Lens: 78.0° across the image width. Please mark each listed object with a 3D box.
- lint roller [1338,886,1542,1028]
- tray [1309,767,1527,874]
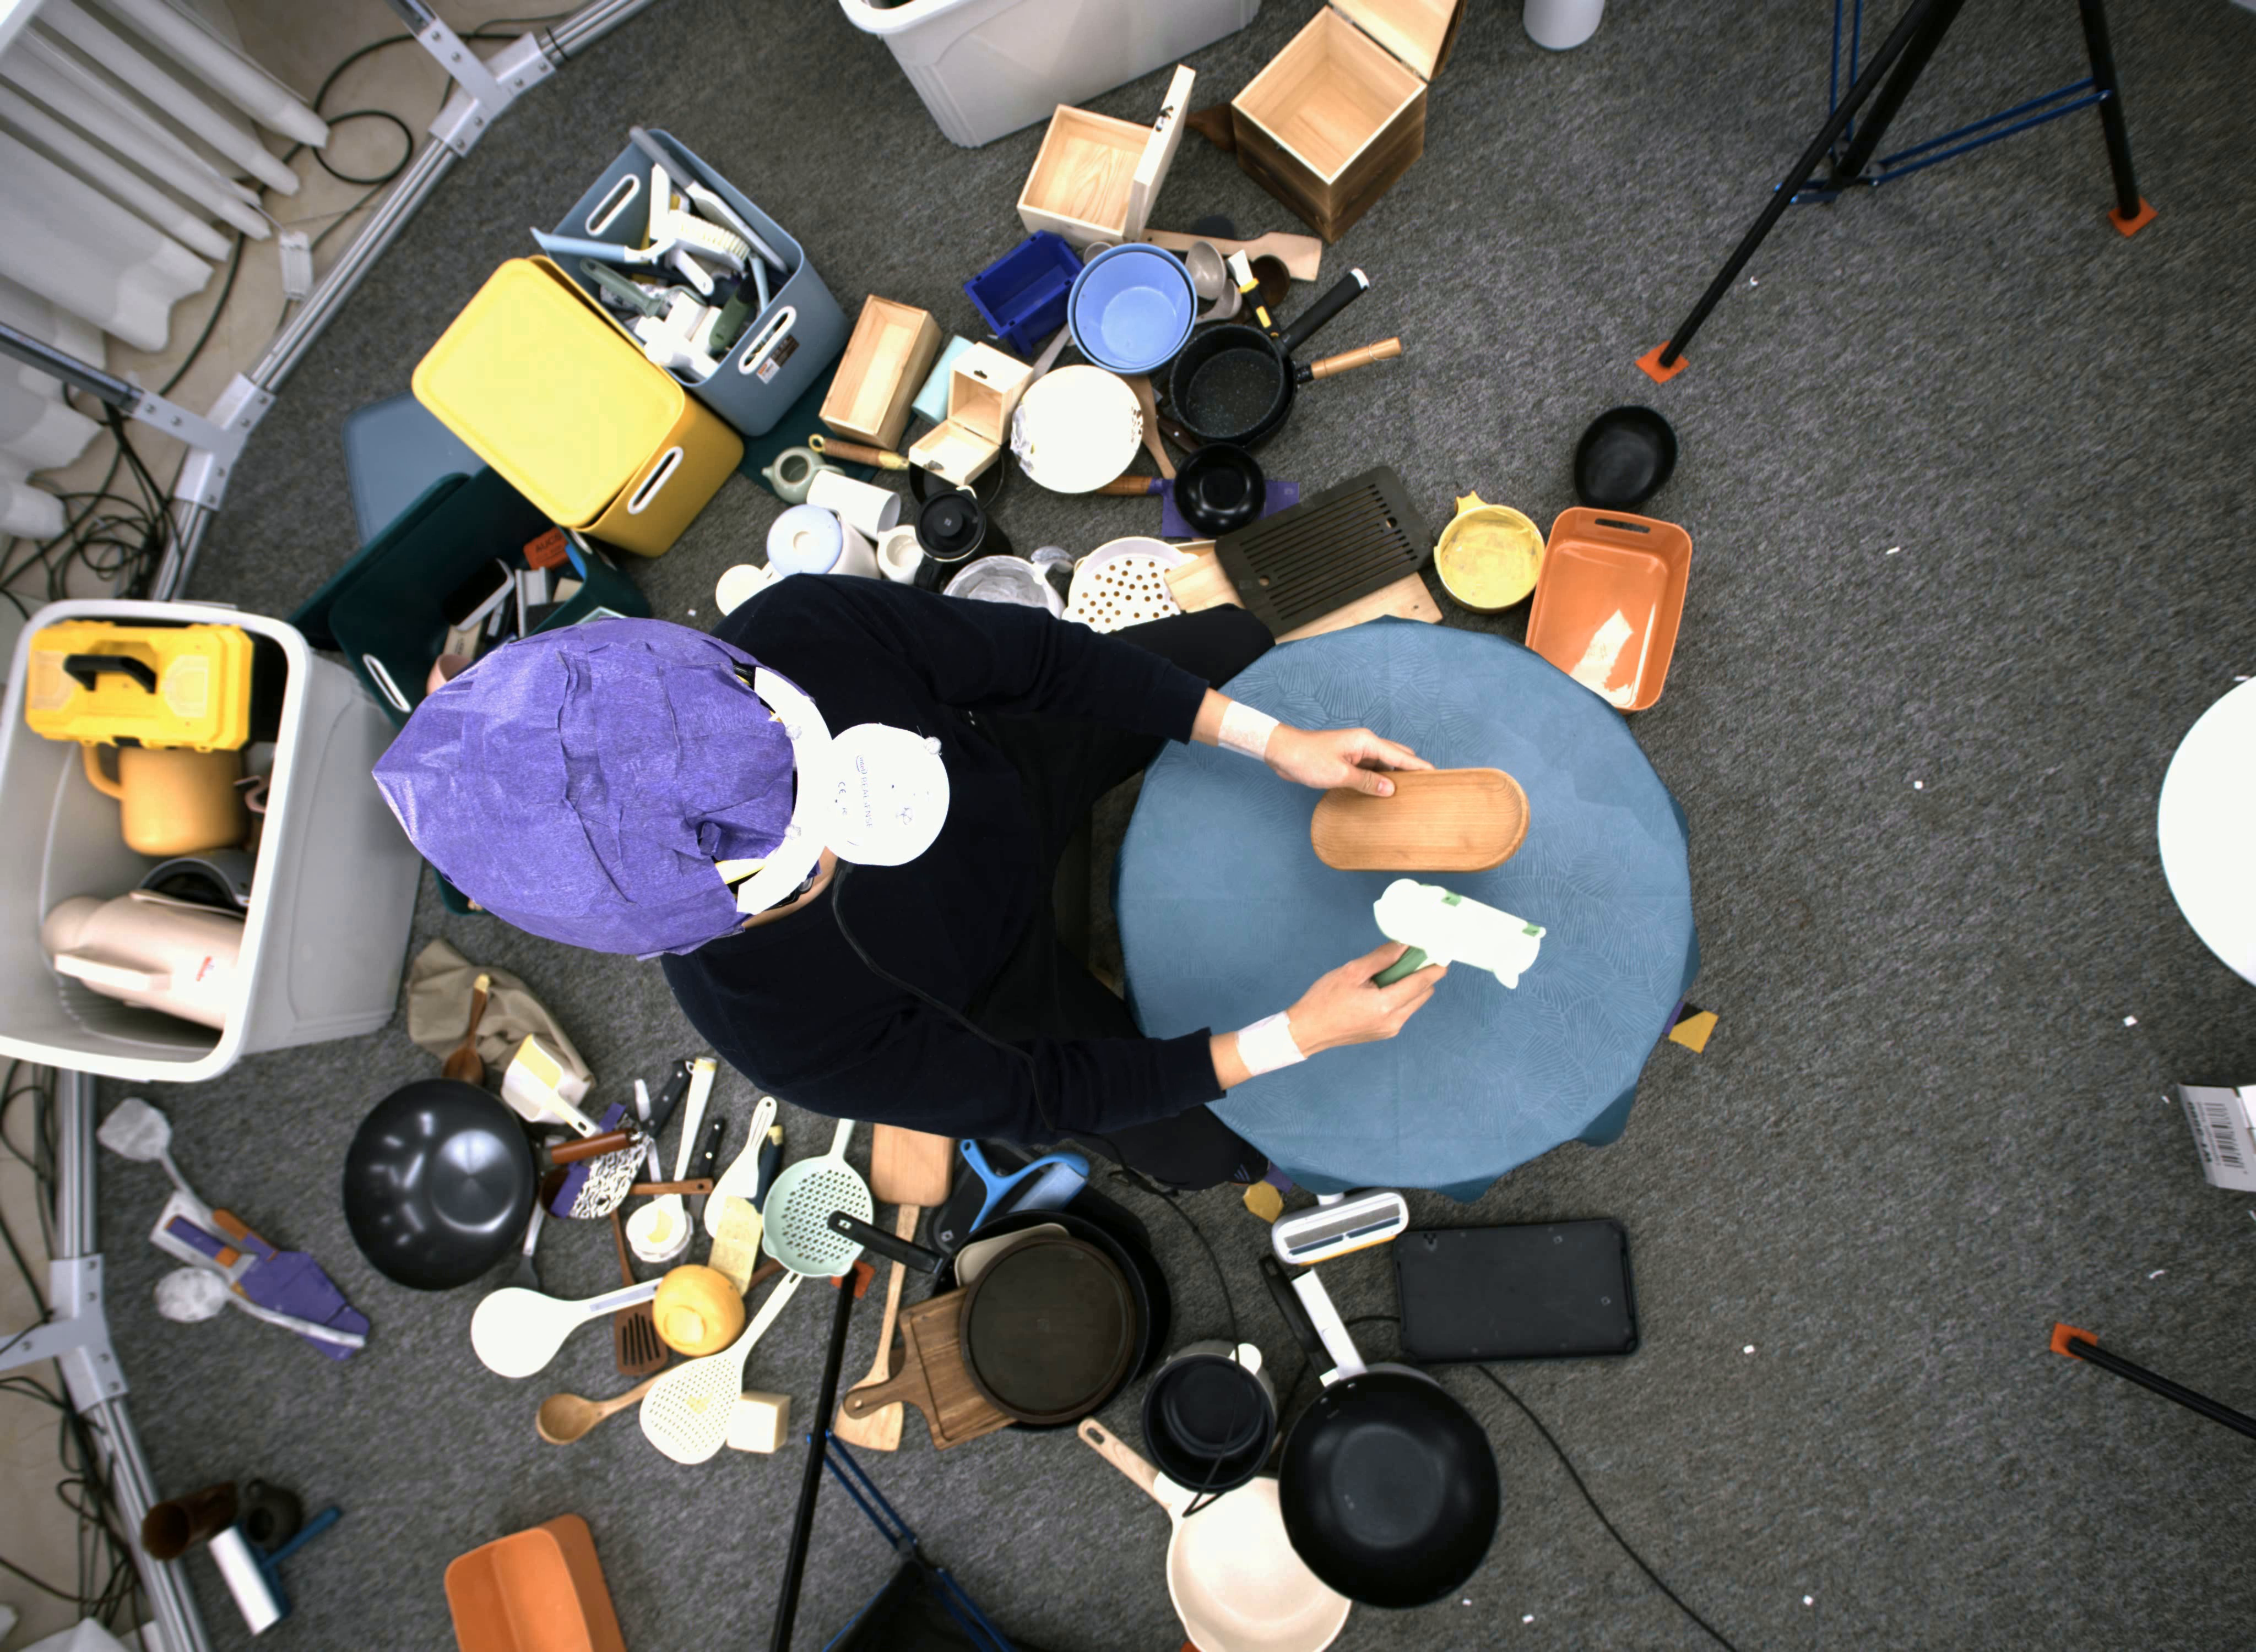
[{"bbox_3d":[0.268,0.140,1.259,0.186,0.199,0.080,-51,46,22],"label":"lint roller"},{"bbox_3d":[0.271,-0.005,1.307,0.233,0.020,0.100,-2,72,44],"label":"tray"}]
